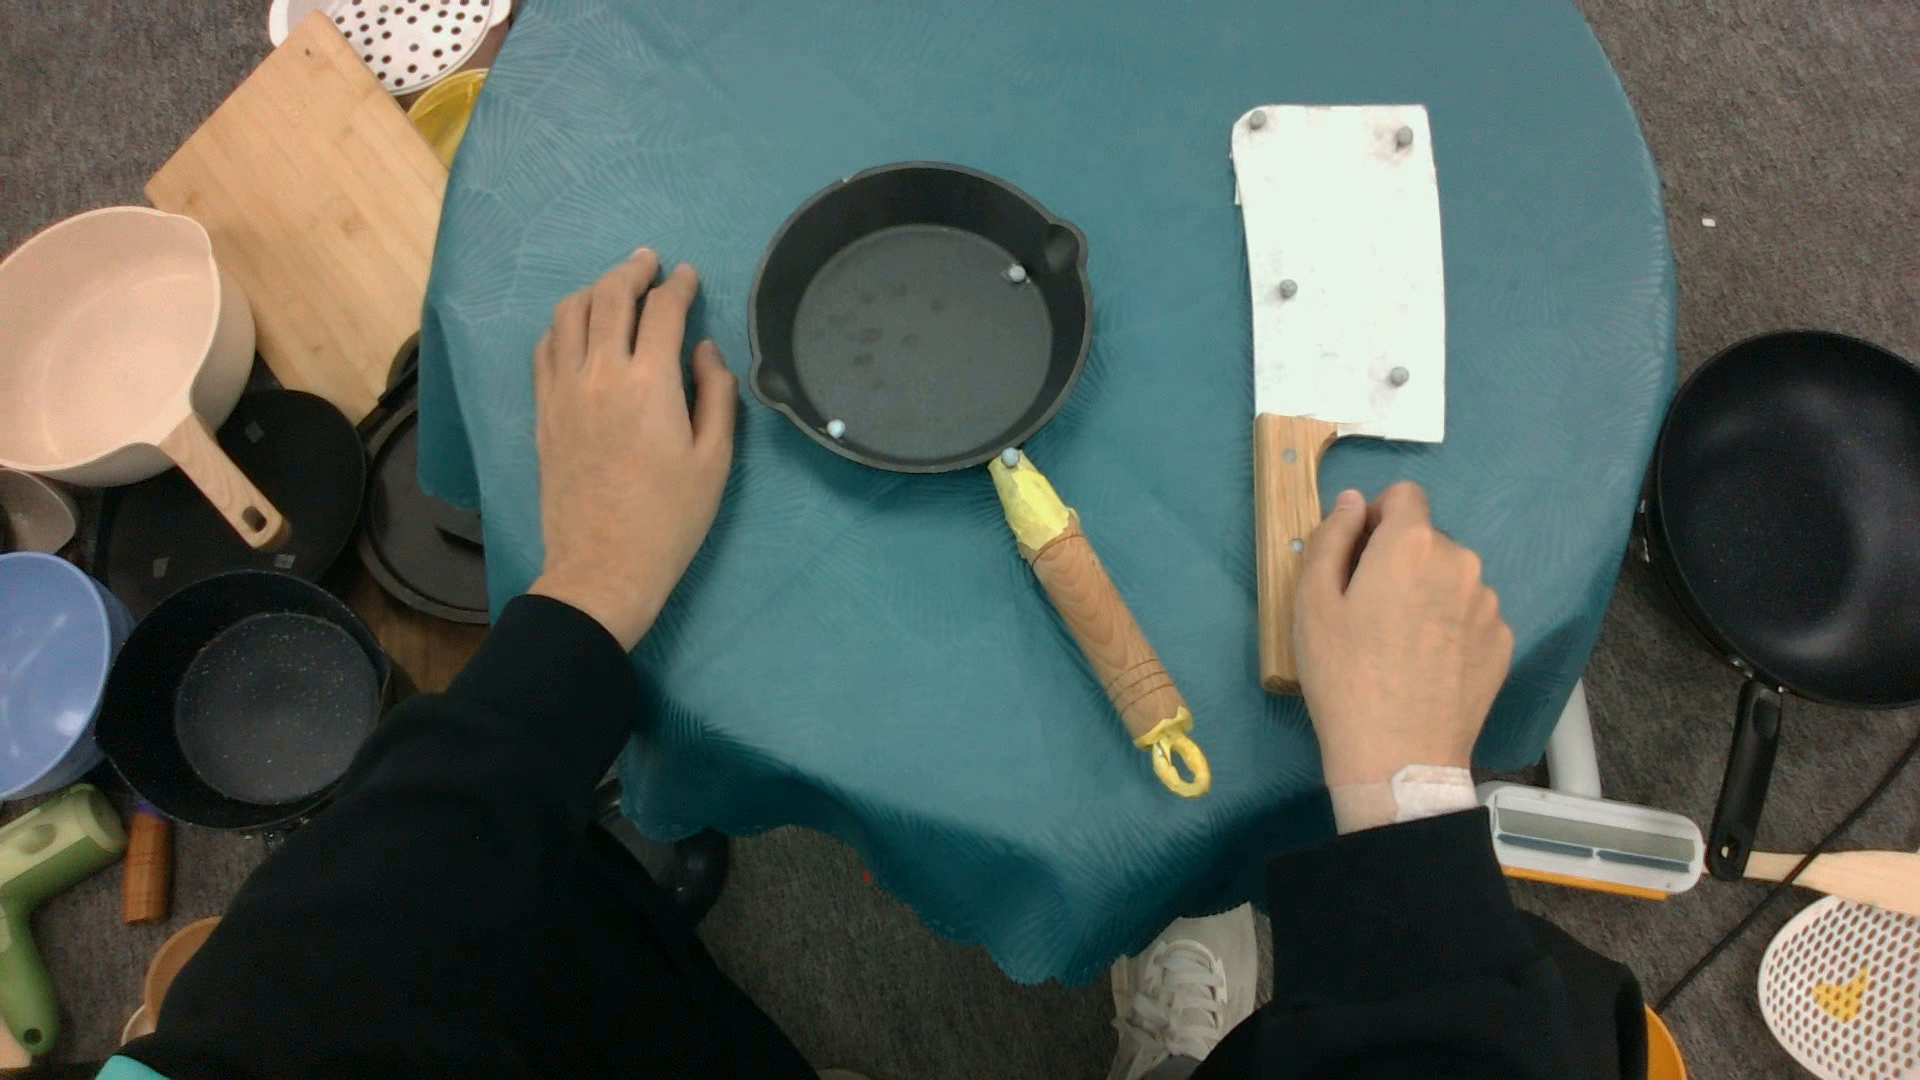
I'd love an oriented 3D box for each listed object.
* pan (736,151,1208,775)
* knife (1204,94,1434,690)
[{"bbox_3d":[0.016,-0.036,0.608,0.169,0.049,0.324,-26,73,-9],"label":"pan"},{"bbox_3d":[0.165,-0.083,0.643,0.114,0.021,0.316,7,69,1],"label":"knife"}]
